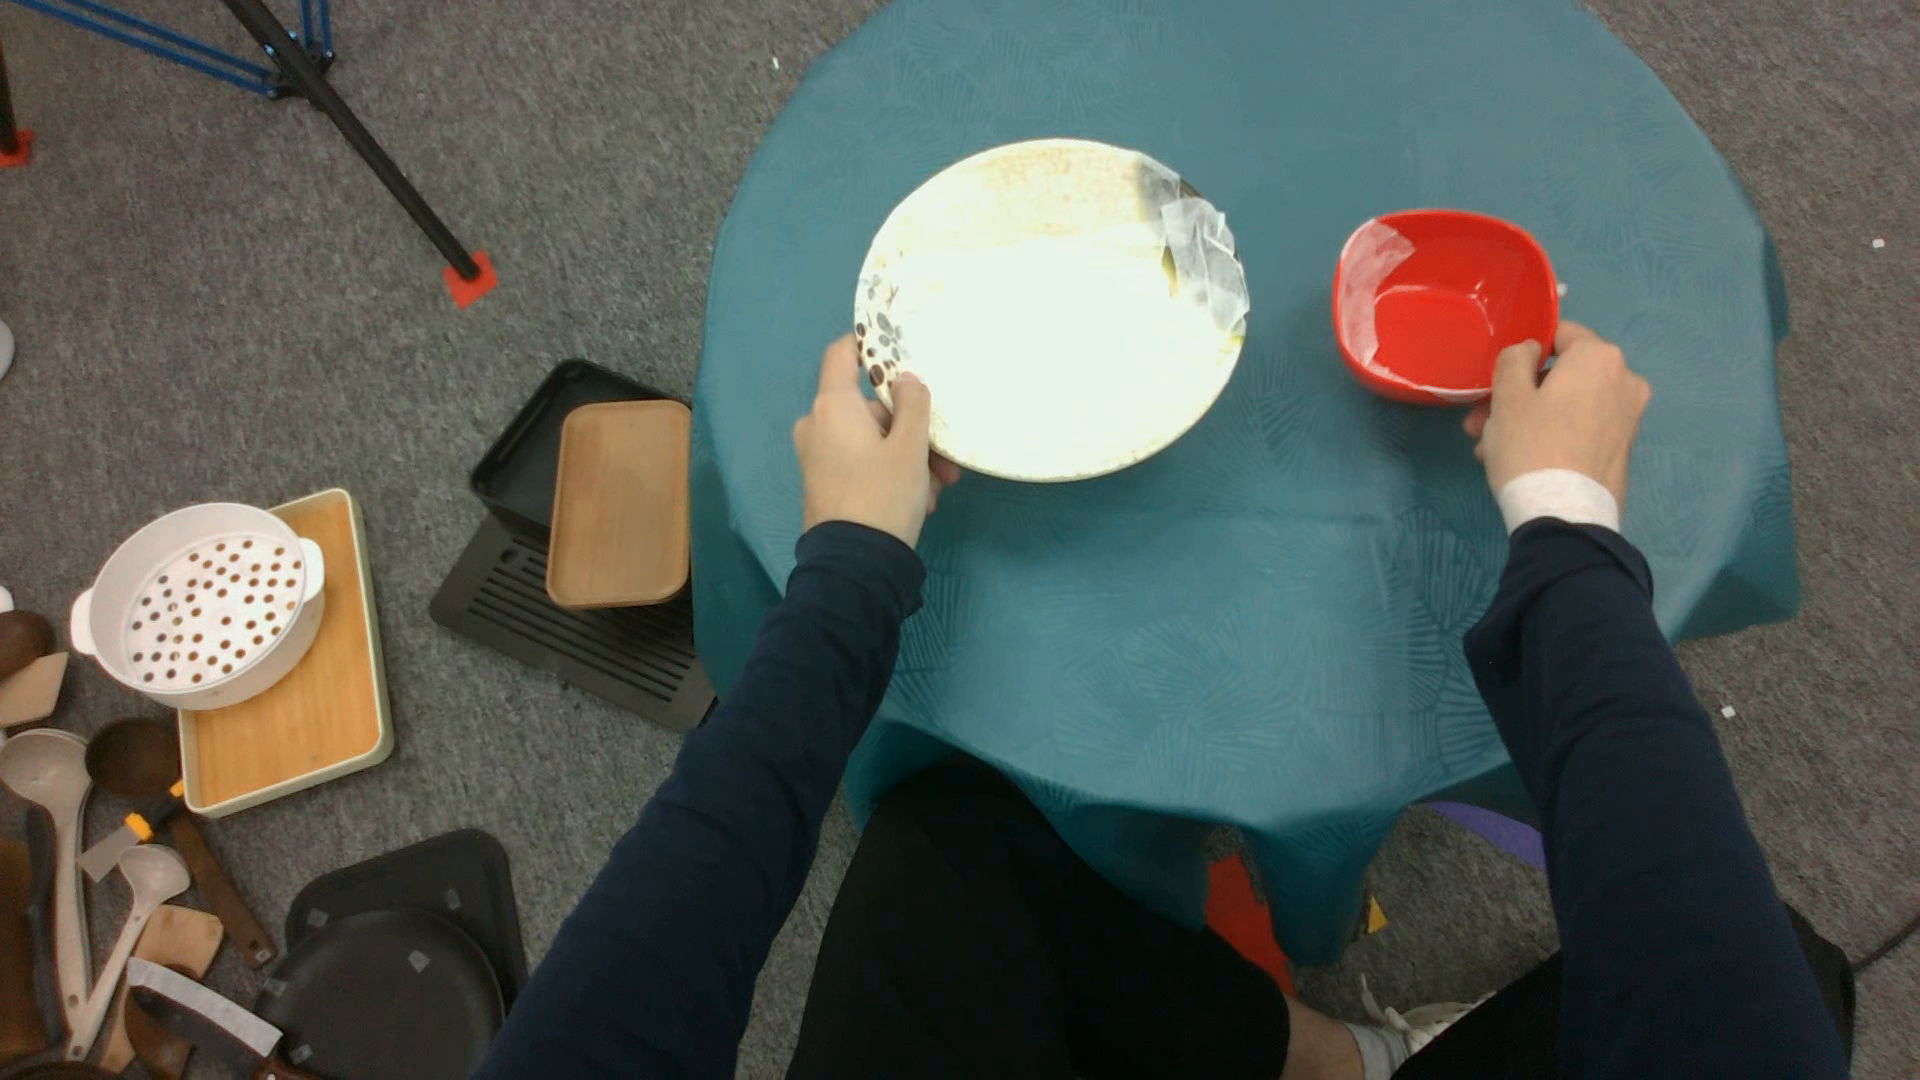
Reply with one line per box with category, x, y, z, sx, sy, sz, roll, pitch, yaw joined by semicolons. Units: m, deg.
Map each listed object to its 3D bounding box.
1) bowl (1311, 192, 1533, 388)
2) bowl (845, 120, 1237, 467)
bowl;0.237;-0.123;0.724;0.119;0.051;0.119;-1;67;3
bowl;0.045;-0.120;0.745;0.204;0.078;0.204;-2;70;7
